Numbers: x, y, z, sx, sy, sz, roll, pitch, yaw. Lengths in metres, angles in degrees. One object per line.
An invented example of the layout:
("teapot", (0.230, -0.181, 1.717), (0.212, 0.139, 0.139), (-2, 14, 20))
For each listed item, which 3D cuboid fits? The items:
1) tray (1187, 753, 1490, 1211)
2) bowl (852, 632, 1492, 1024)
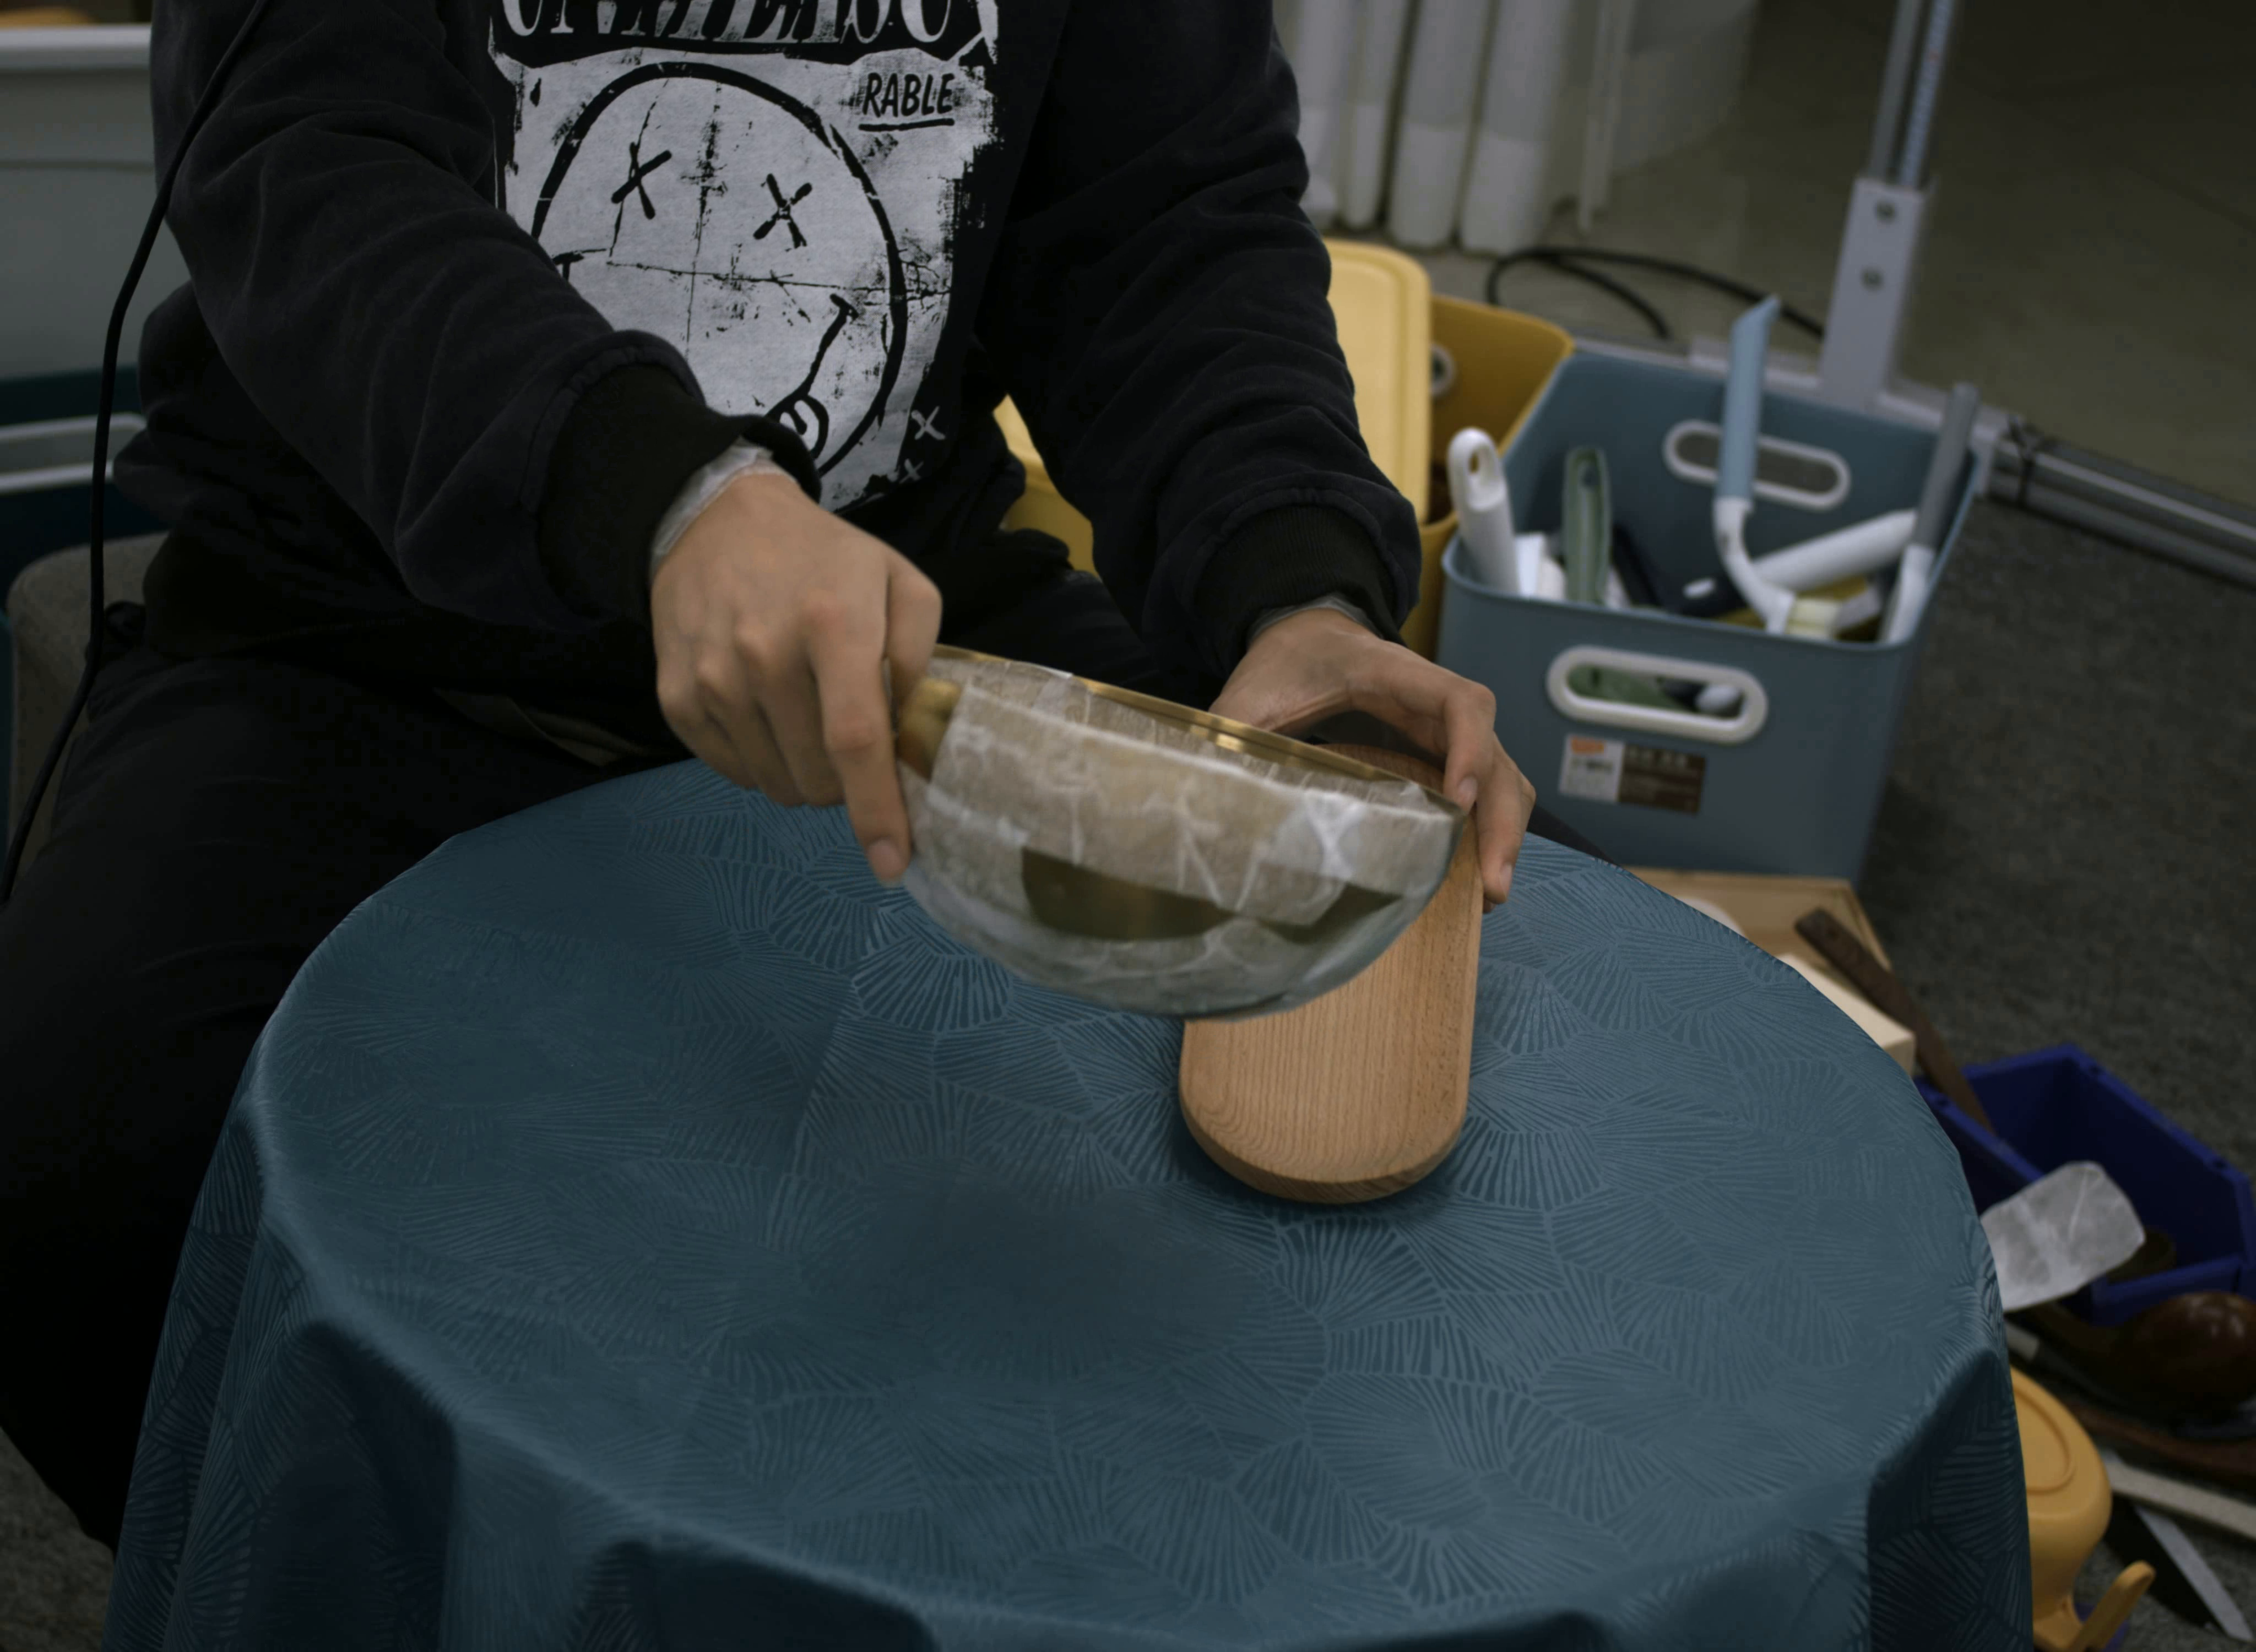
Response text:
("tray", (0.076, 0.053, 1.882), (0.101, 0.020, 0.233), (4, 41, 3))
("bowl", (0.002, 0.010, 1.706), (0.214, 0.094, 0.215), (15, 6, -2))
